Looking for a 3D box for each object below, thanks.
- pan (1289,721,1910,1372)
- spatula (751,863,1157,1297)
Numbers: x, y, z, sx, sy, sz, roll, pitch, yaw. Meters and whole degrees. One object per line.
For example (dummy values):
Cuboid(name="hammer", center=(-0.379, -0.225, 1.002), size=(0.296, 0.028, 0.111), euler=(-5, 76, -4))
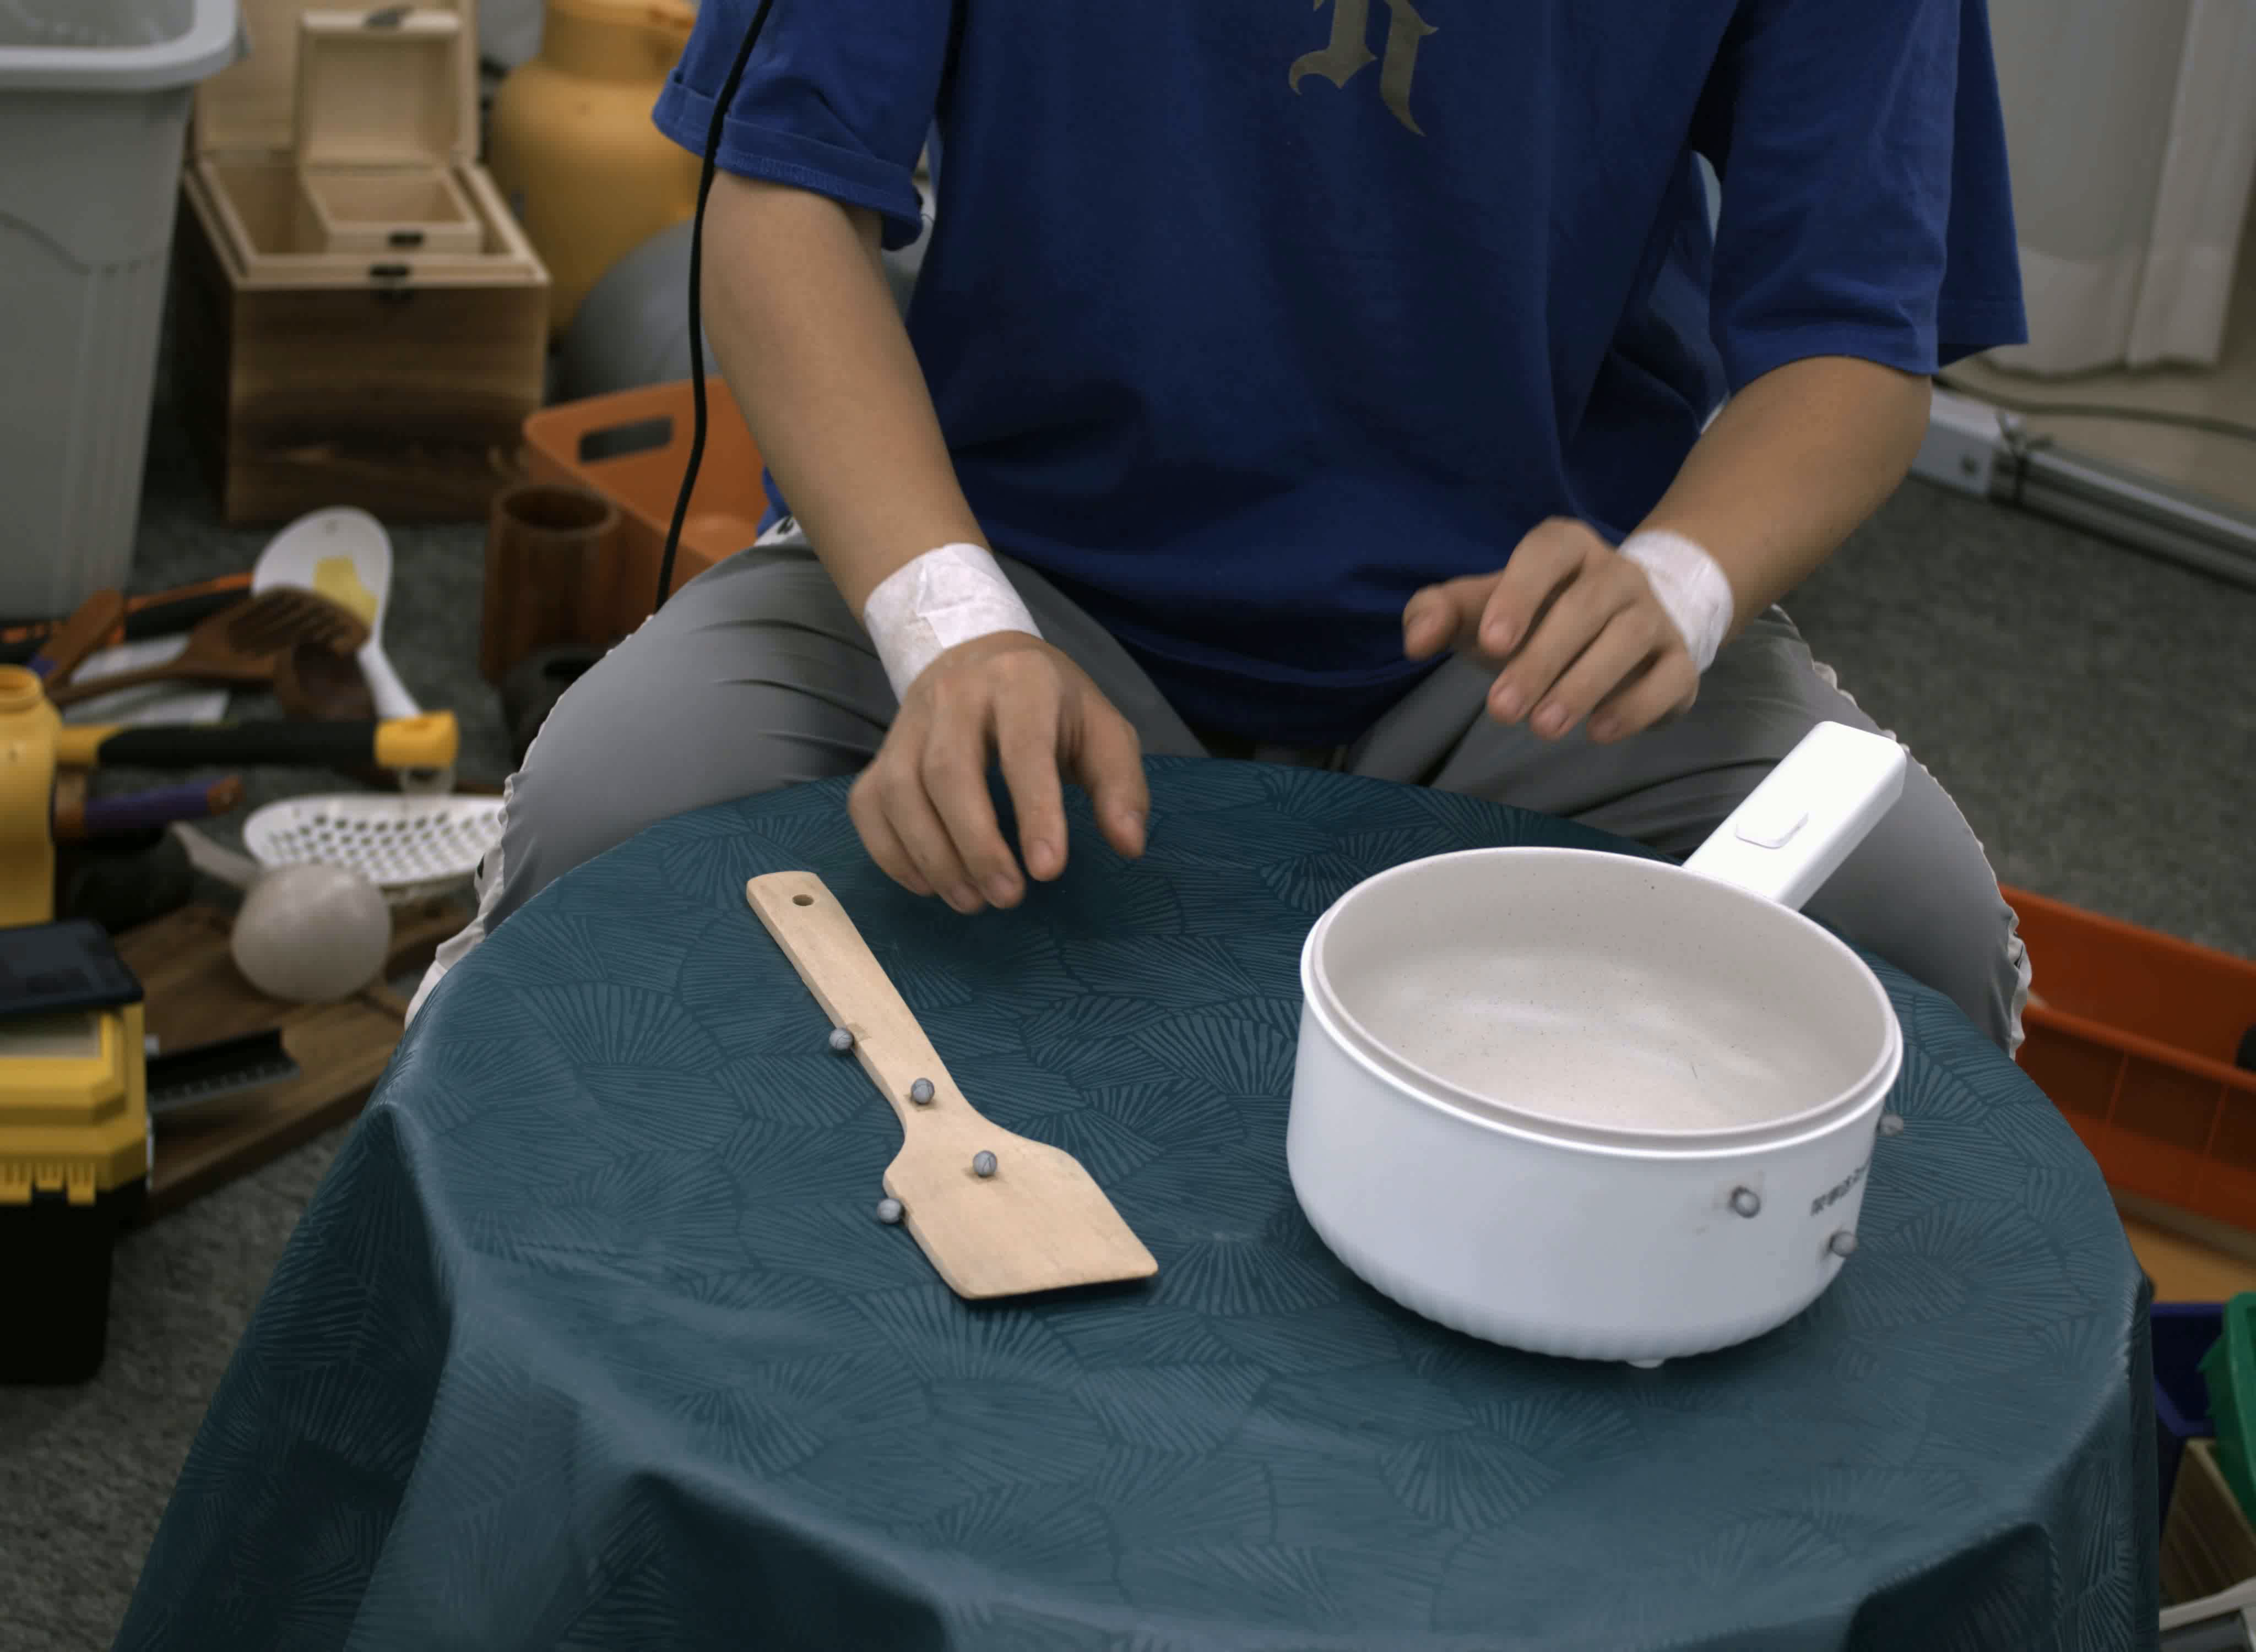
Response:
Cuboid(name="pan", center=(0.187, 0.070, 1.844), size=(0.202, 0.102, 0.354), euler=(16, 28, 22))
Cuboid(name="spatula", center=(-0.076, 0.084, 1.854), size=(0.072, 0.010, 0.296), euler=(-6, 30, -21))
